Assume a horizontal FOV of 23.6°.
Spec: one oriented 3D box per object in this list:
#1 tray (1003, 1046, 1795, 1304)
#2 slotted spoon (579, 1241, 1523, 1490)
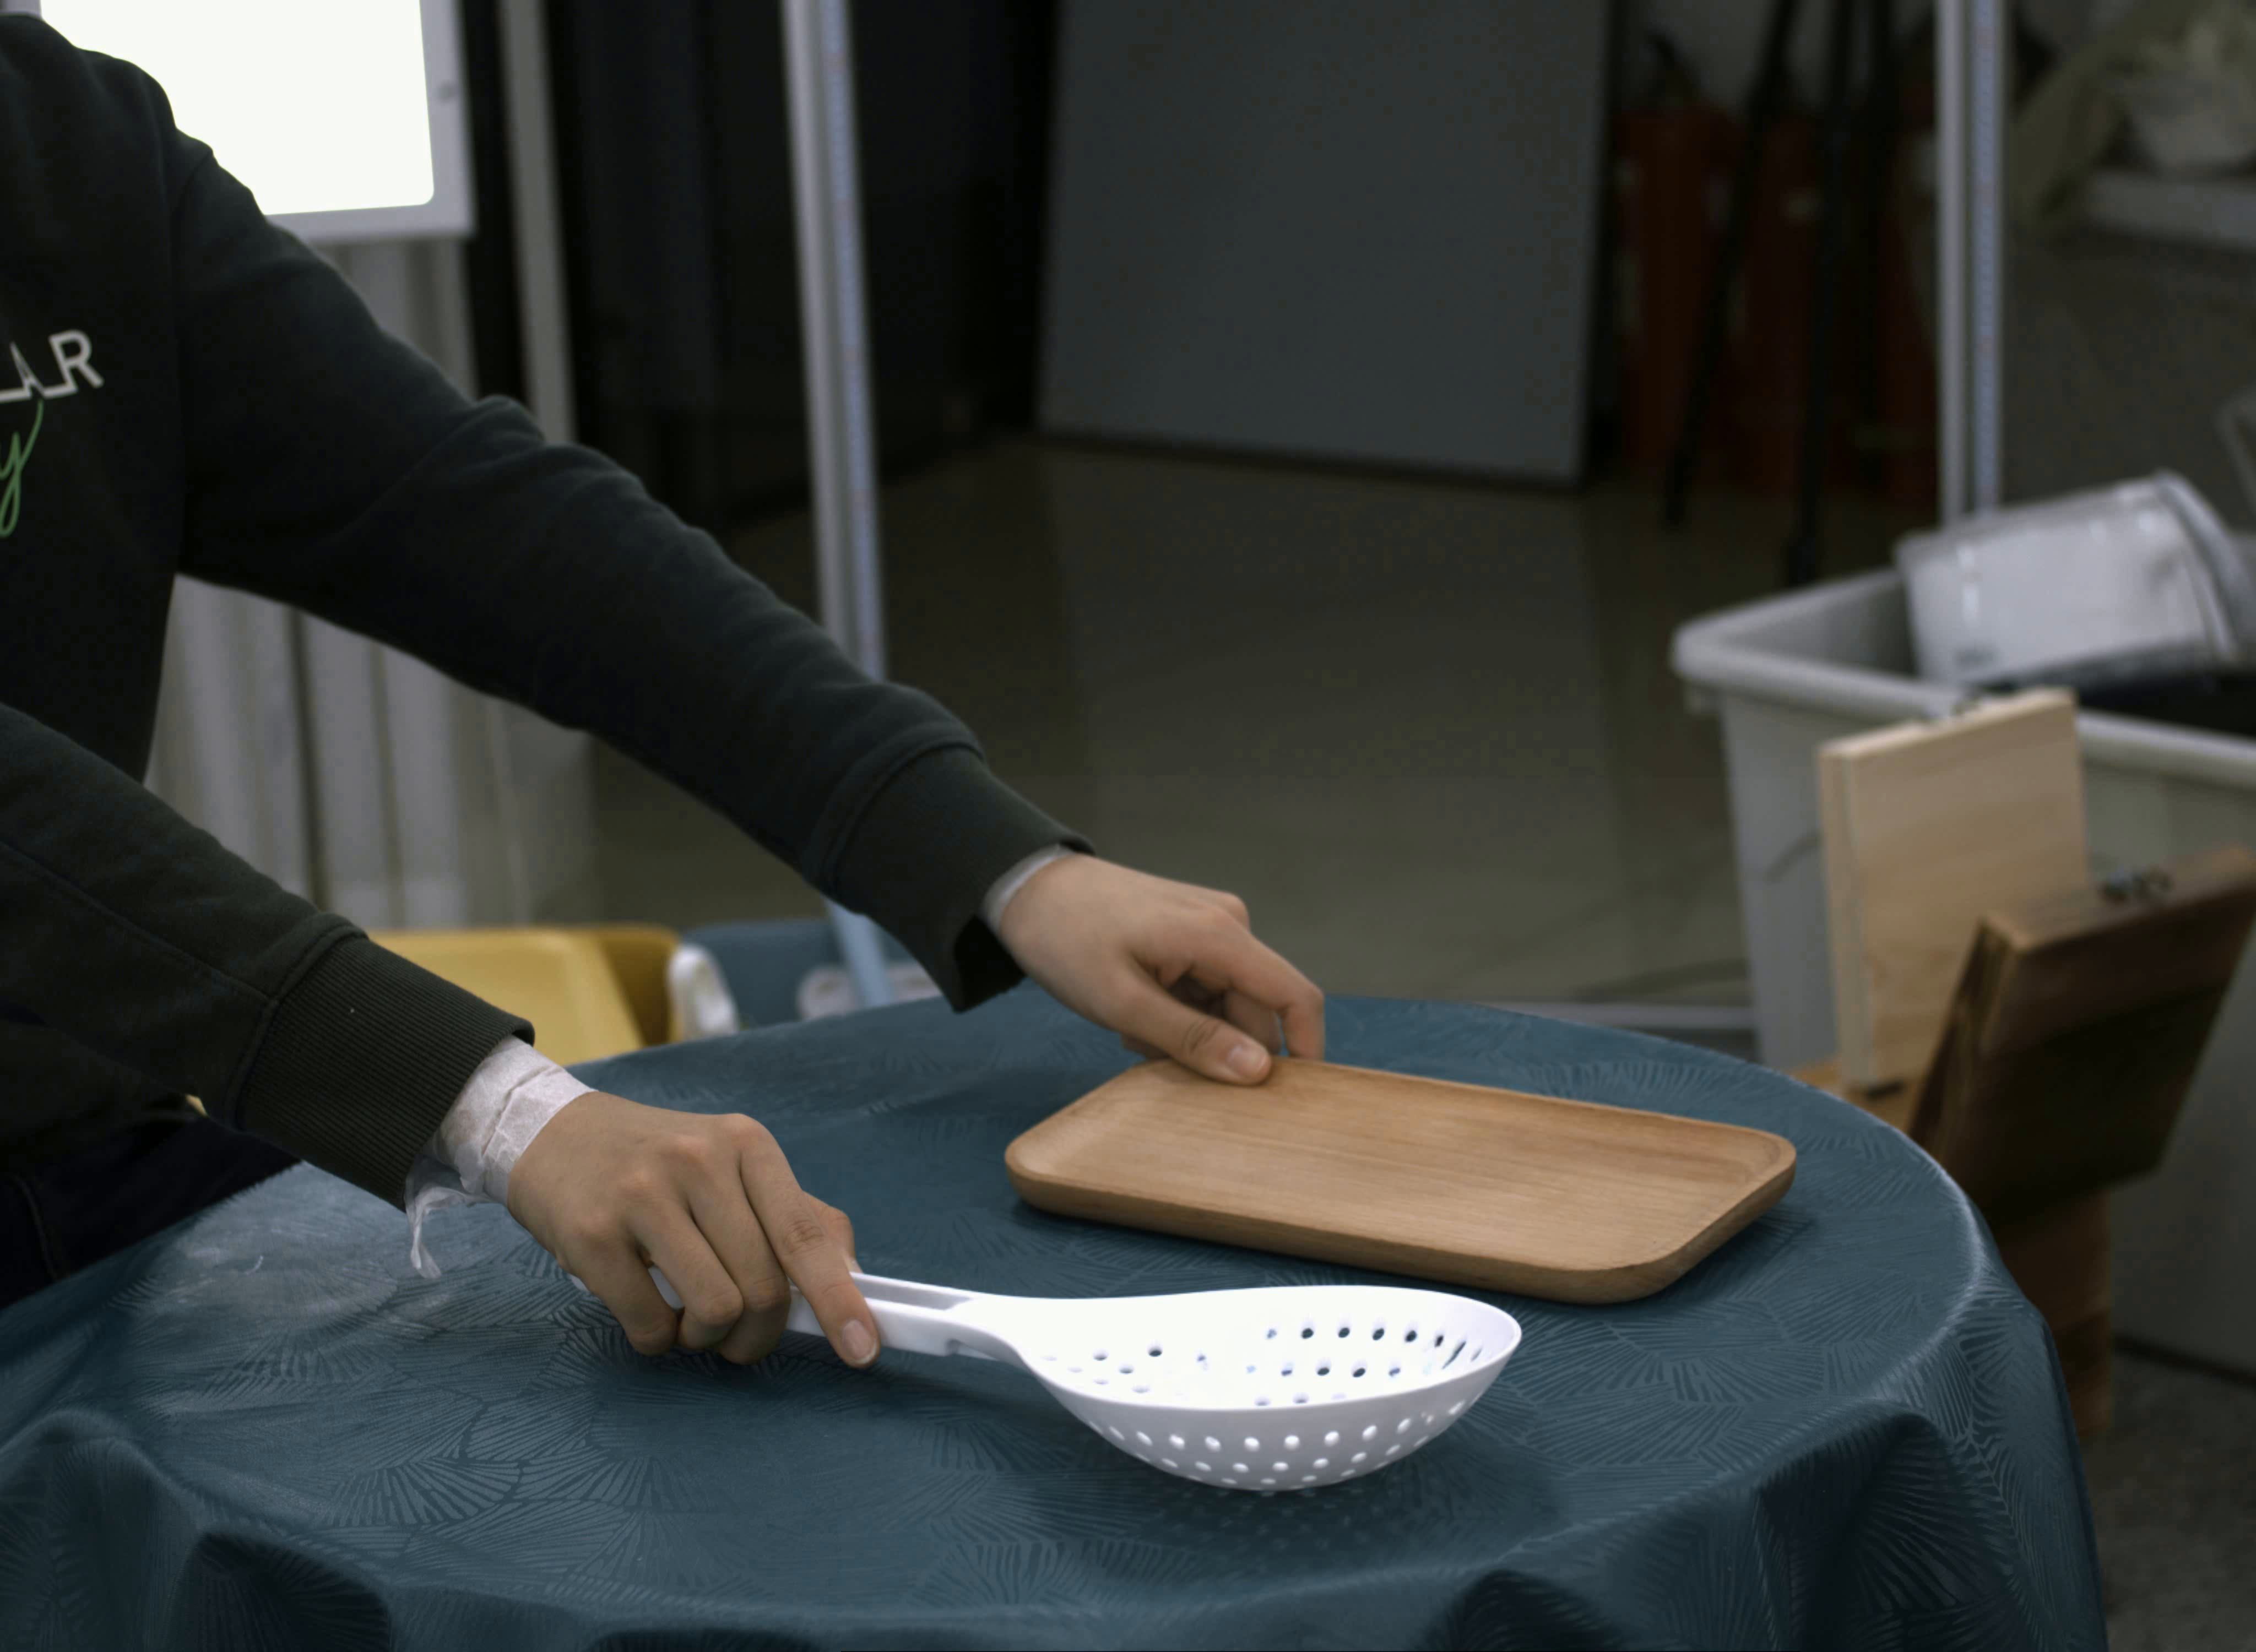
[{"bbox_3d":[0.086,0.111,1.732,0.252,0.023,0.128,6,19,36],"label":"tray"},{"bbox_3d":[-0.036,0.146,1.574,0.353,0.046,0.133,9,14,42],"label":"slotted spoon"}]
